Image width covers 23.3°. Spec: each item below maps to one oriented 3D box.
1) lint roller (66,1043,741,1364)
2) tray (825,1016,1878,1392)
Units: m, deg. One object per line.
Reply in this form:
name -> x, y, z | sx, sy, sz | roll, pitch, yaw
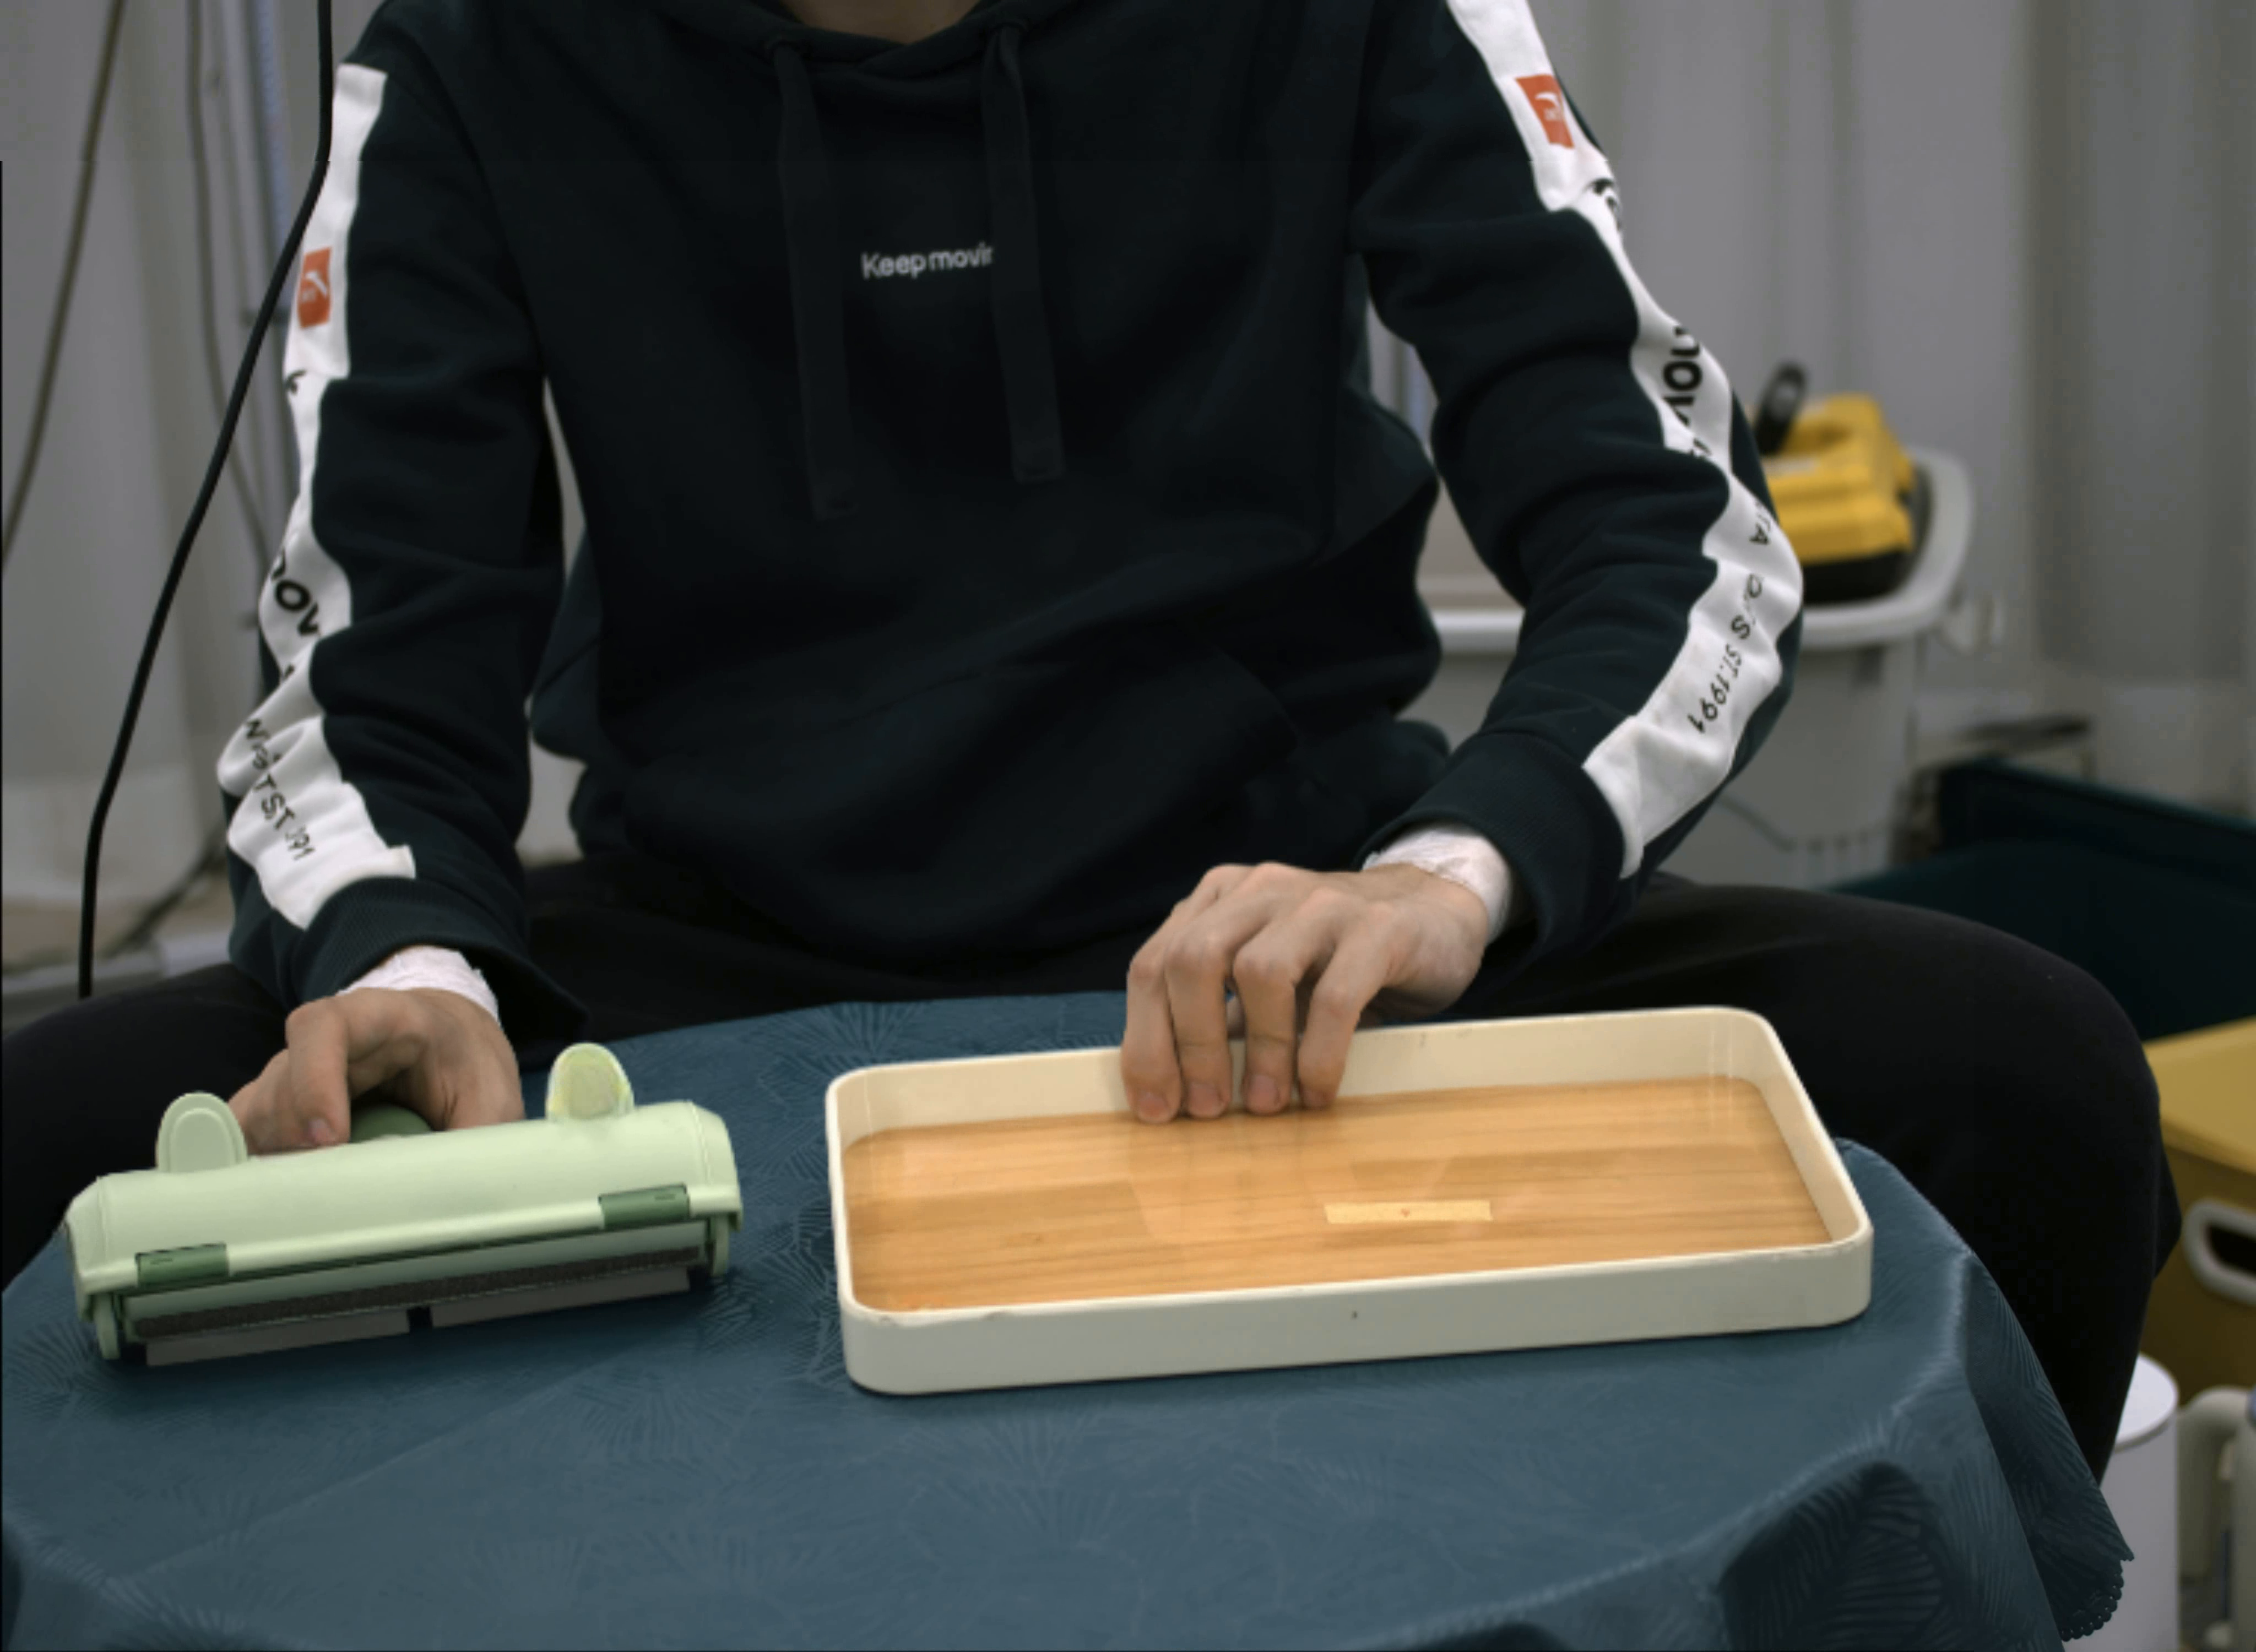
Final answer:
lint roller -> -0.227, 0.097, 1.675 | 0.198, 0.082, 0.185 | -7, 20, -11
tray -> 0.061, 0.111, 1.639 | 0.299, 0.027, 0.193 | -4, 18, -3
